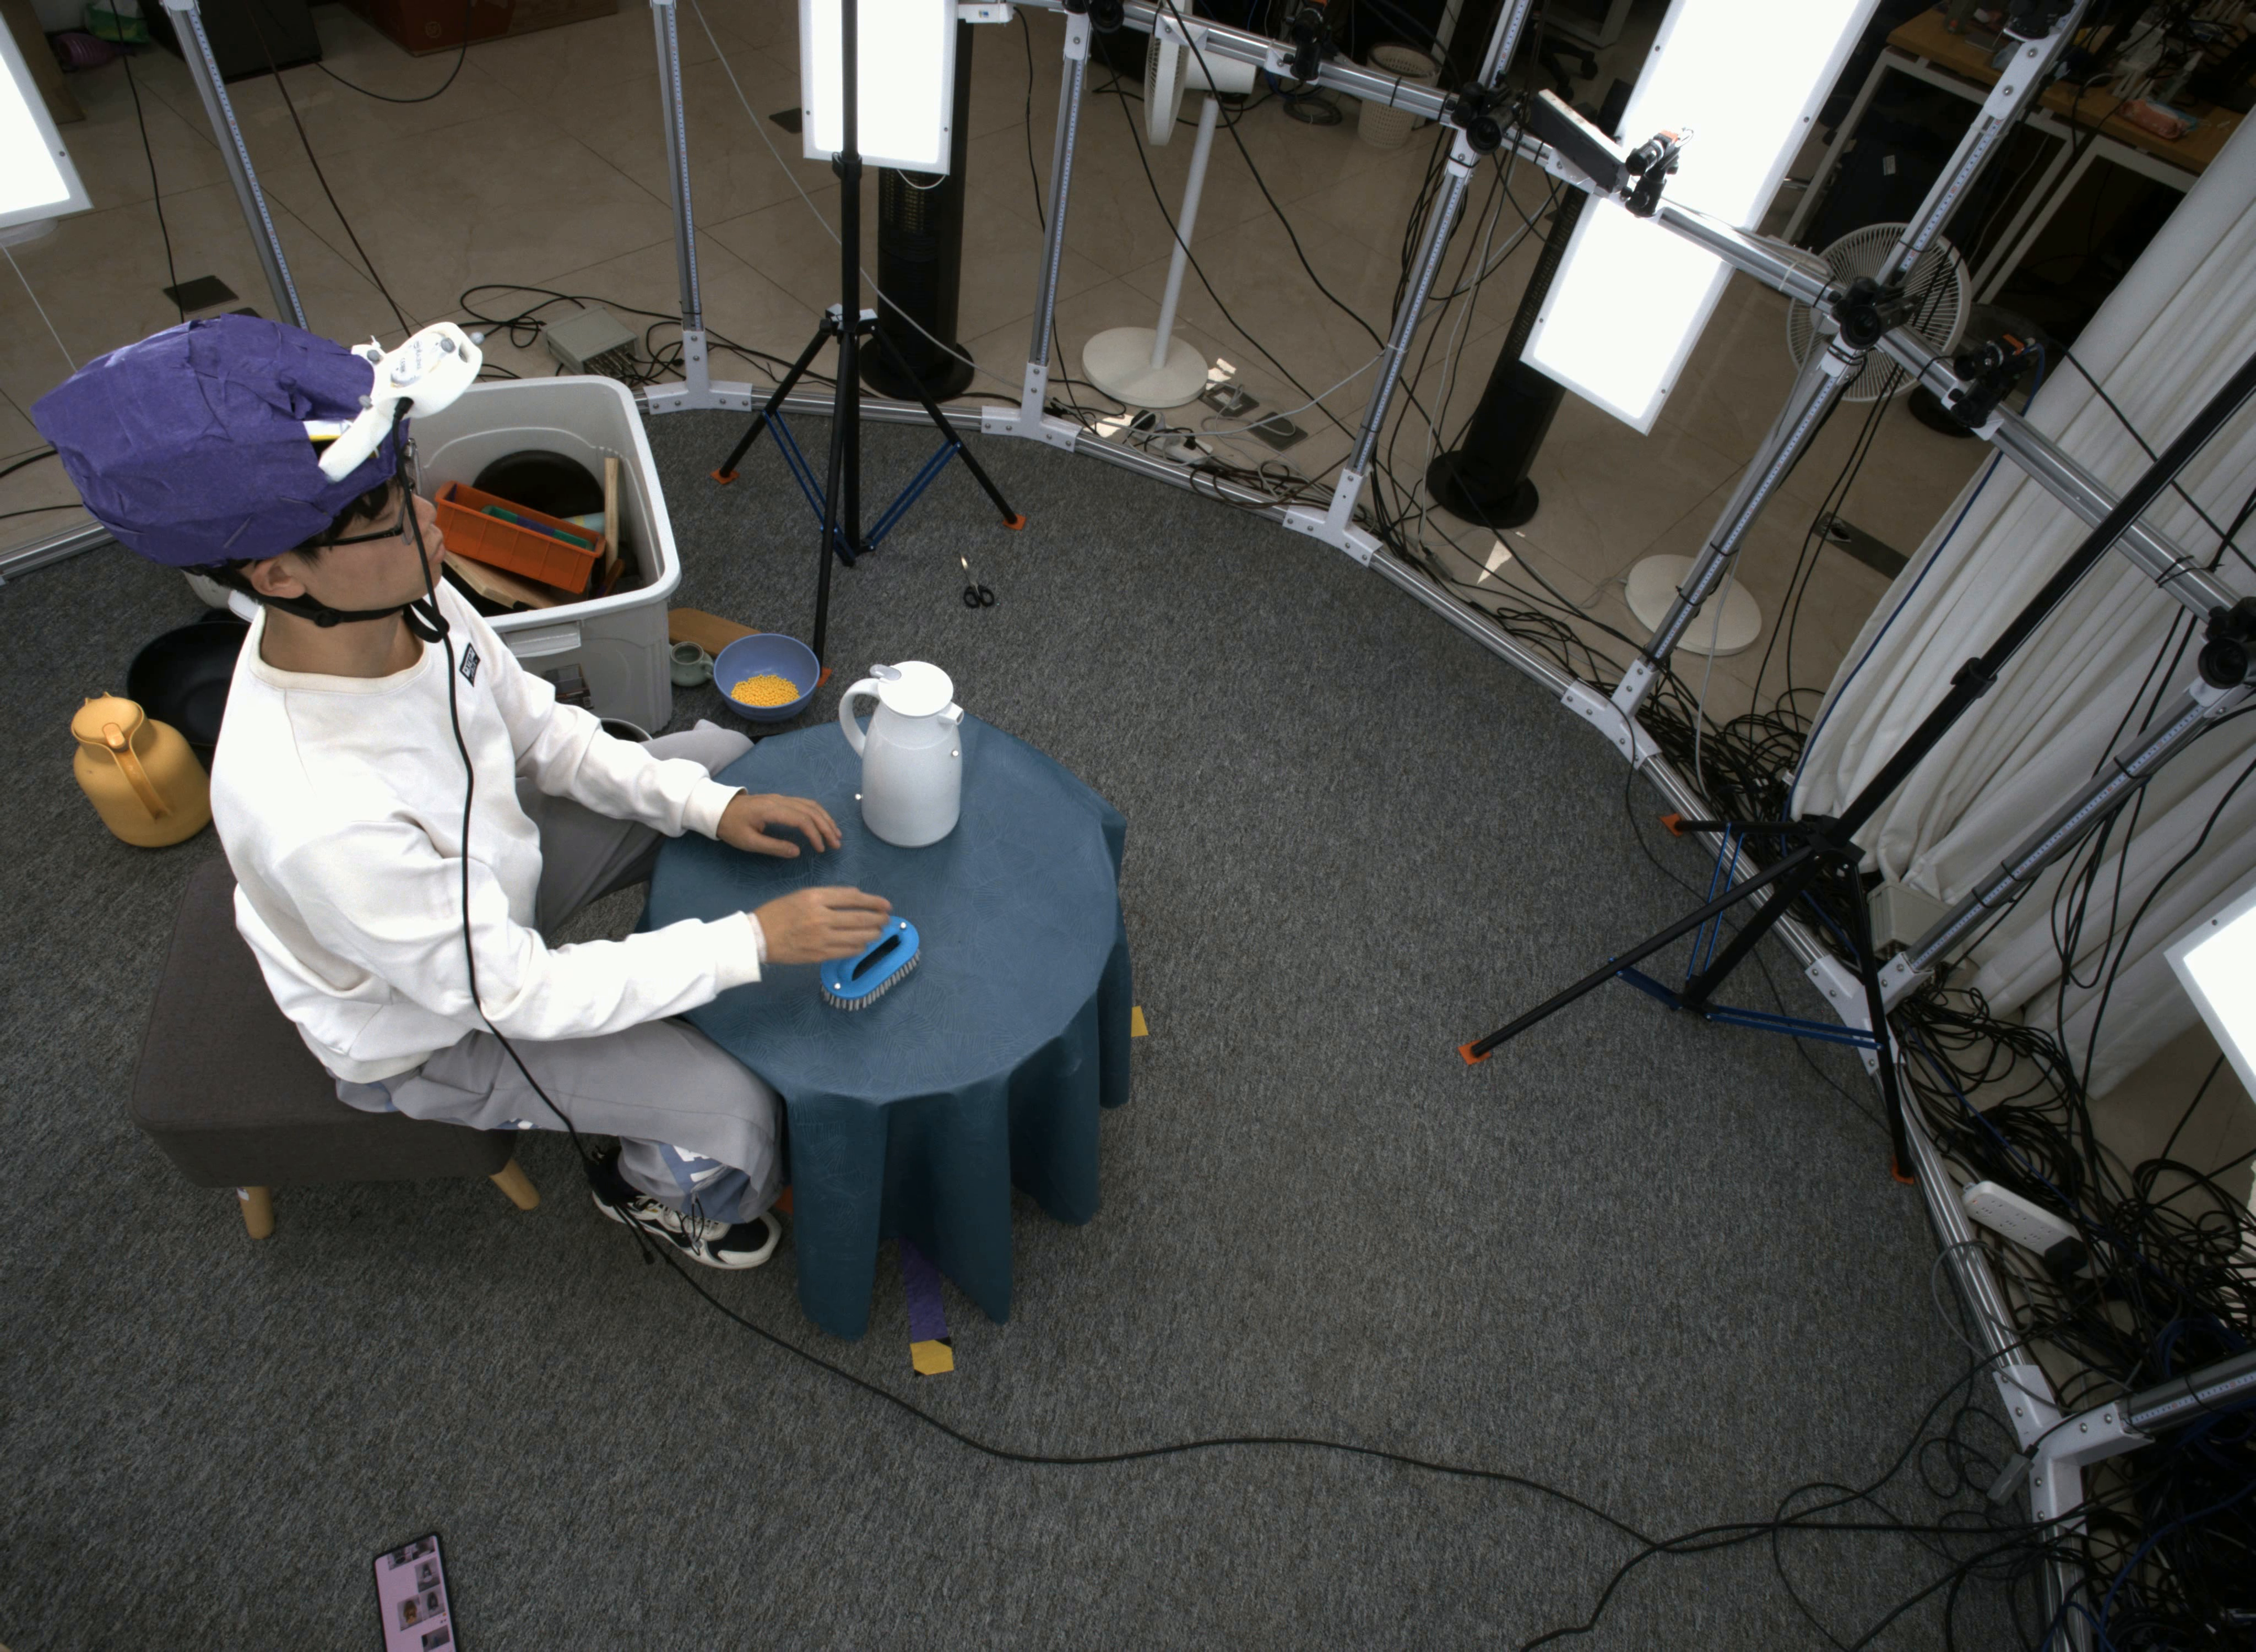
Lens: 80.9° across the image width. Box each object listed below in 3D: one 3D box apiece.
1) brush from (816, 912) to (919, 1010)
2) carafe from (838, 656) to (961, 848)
[{"bbox_3d":[-0.318,0.158,1.600,0.083,0.065,0.142,41,56,14],"label":"brush"},{"bbox_3d":[-0.298,-0.107,1.683,0.165,0.254,0.131,21,51,6],"label":"carafe"}]
